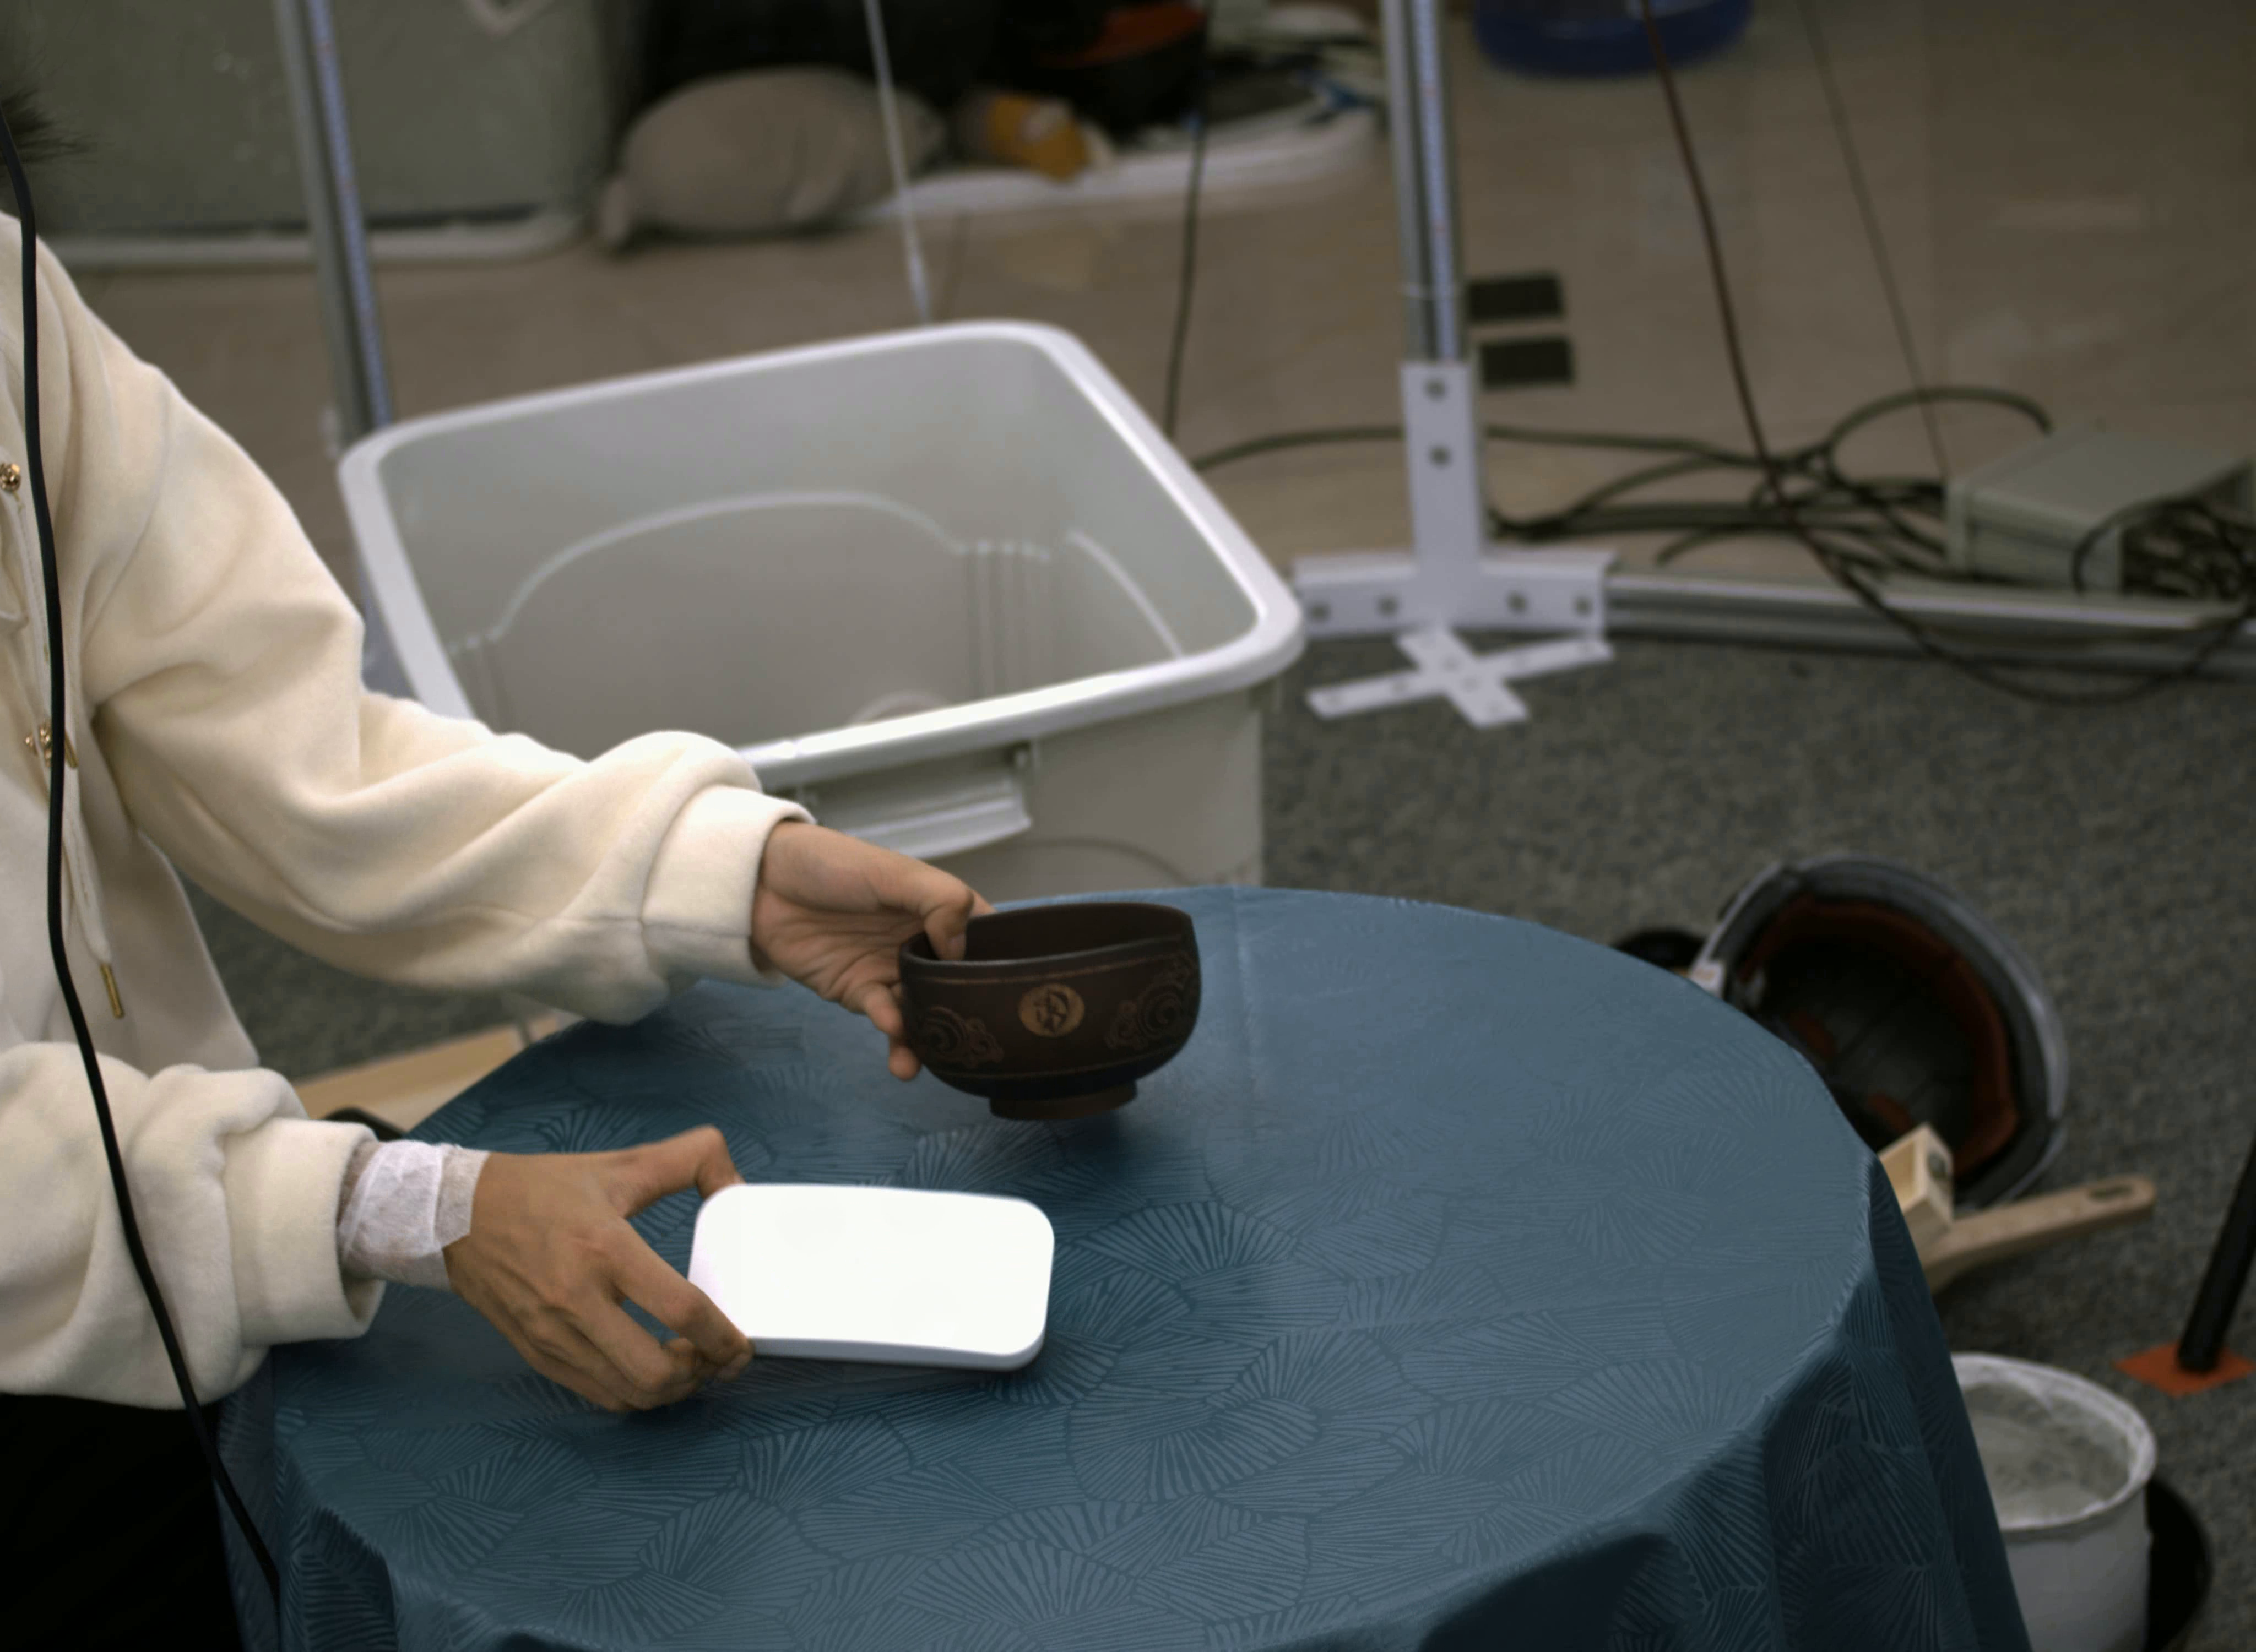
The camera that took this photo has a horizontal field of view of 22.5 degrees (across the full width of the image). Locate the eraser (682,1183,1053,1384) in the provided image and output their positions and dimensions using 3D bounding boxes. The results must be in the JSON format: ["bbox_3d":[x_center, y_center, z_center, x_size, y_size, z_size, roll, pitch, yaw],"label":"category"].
[{"bbox_3d":[-0.093,0.165,2.038,0.131,0.035,0.062,3,59,7],"label":"eraser"}]

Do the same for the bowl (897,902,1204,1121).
[{"bbox_3d":[-0.028,0.074,2.182,0.118,0.070,0.117,-7,8,1],"label":"bowl"}]
